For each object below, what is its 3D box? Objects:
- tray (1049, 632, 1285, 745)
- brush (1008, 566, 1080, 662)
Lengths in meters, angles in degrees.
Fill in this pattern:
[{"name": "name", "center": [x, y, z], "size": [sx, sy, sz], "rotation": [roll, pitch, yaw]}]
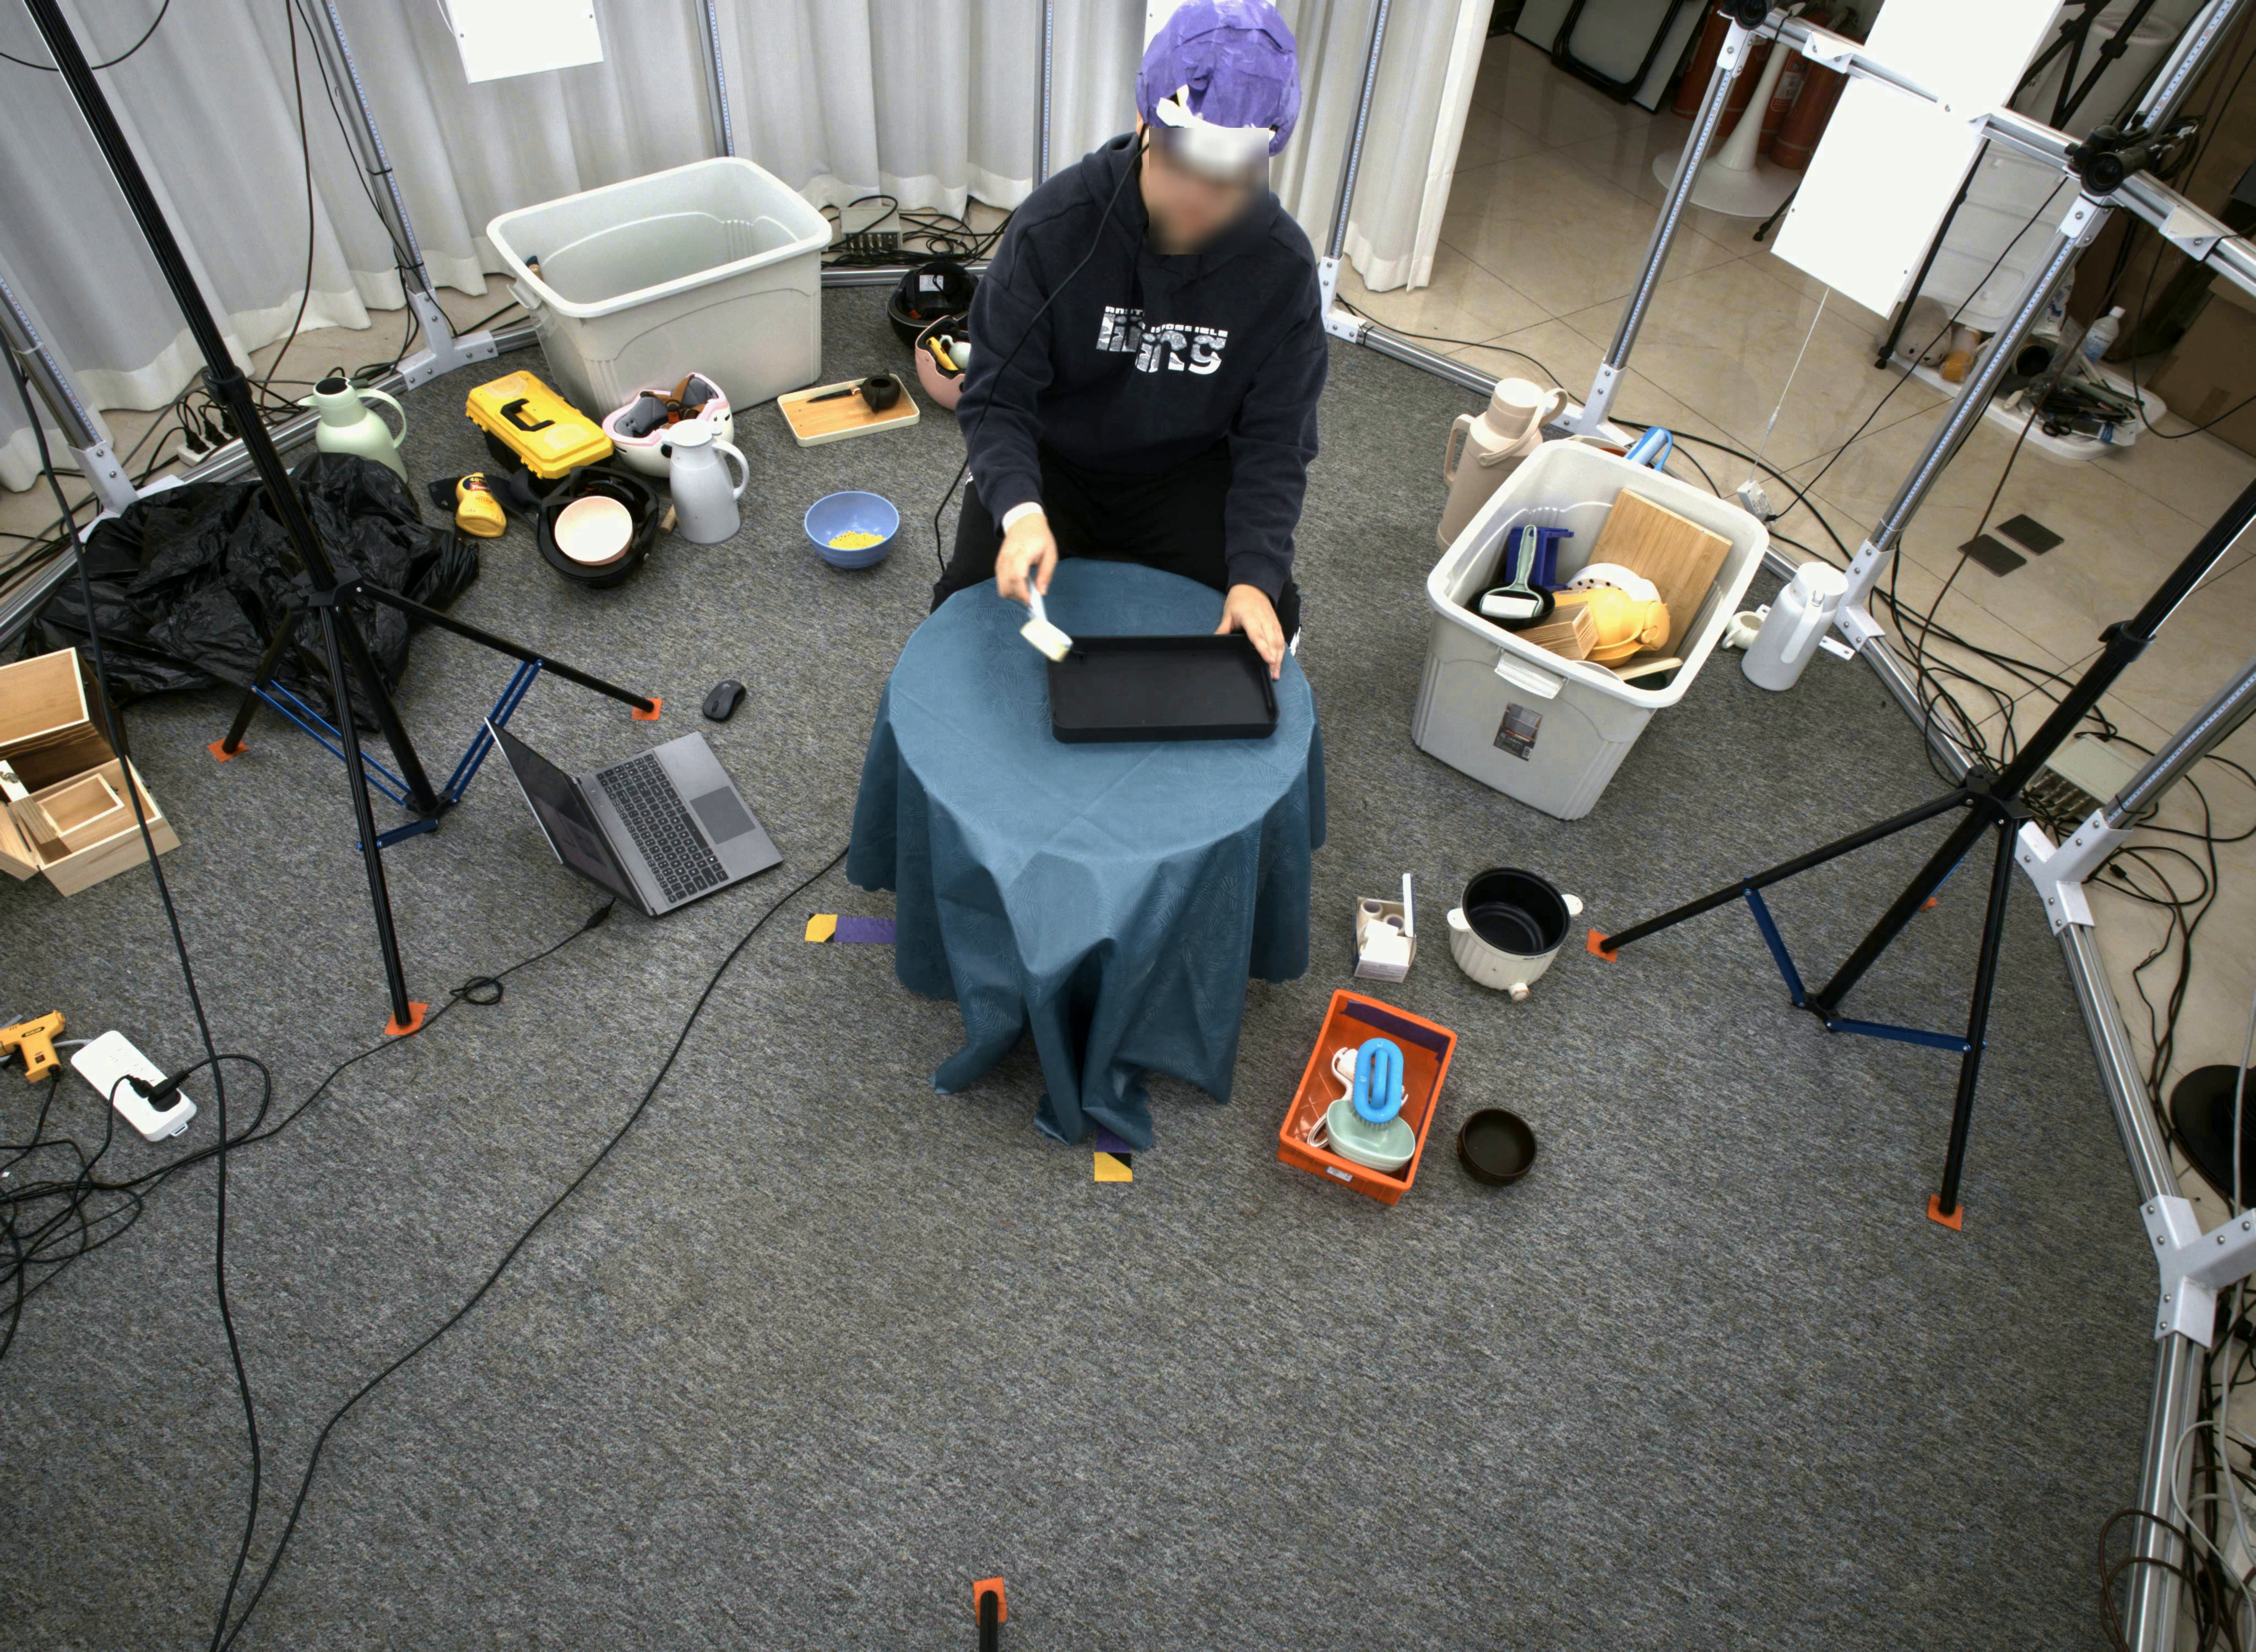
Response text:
[{"name": "tray", "center": [0.051, -0.197, 1.817], "size": [0.317, 0.036, 0.189], "rotation": [-3, 49, -7]}, {"name": "brush", "center": [-0.126, -0.295, 1.765], "size": [0.037, 0.049, 0.234], "rotation": [29, 22, -42]}]
